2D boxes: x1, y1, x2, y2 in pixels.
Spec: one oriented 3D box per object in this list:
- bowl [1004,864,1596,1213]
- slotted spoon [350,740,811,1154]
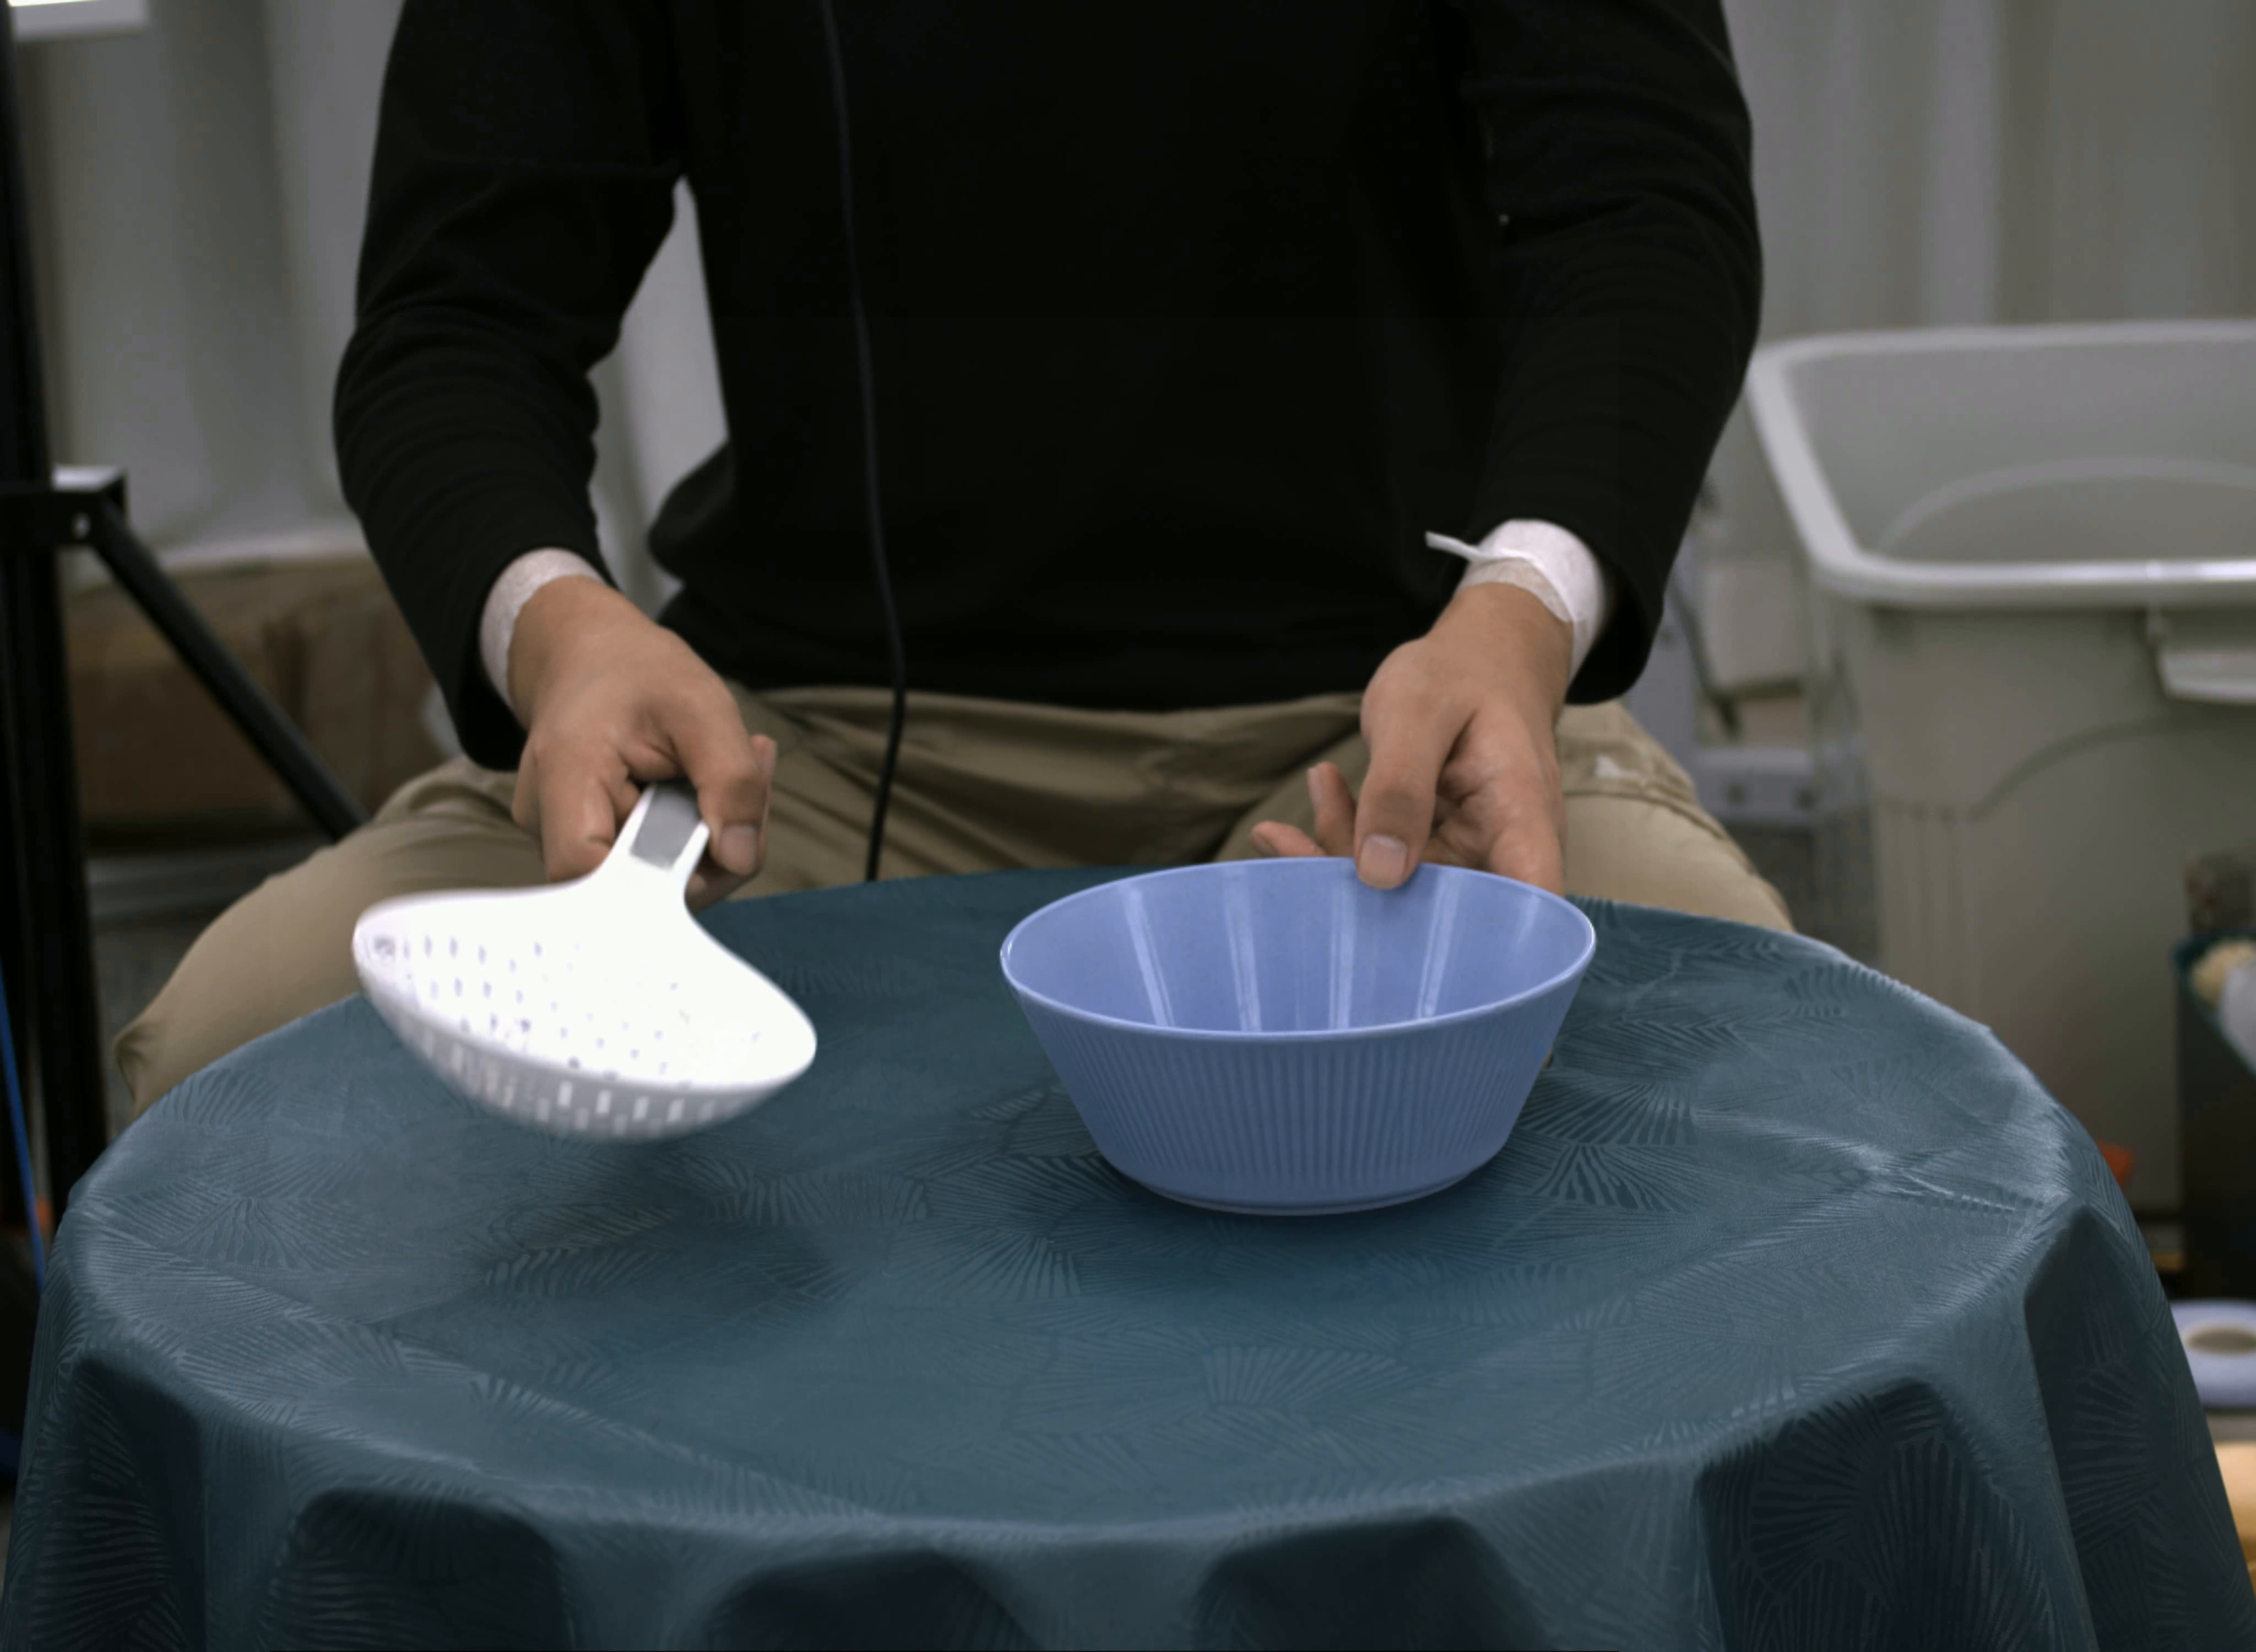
[{"bbox_3d":[0.051,0.065,1.573,0.175,0.070,0.177,-3,15,-1],"label":"bowl"},{"bbox_3d":[-0.153,0.028,1.634,0.135,0.046,0.350,13,21,-1],"label":"slotted spoon"}]
